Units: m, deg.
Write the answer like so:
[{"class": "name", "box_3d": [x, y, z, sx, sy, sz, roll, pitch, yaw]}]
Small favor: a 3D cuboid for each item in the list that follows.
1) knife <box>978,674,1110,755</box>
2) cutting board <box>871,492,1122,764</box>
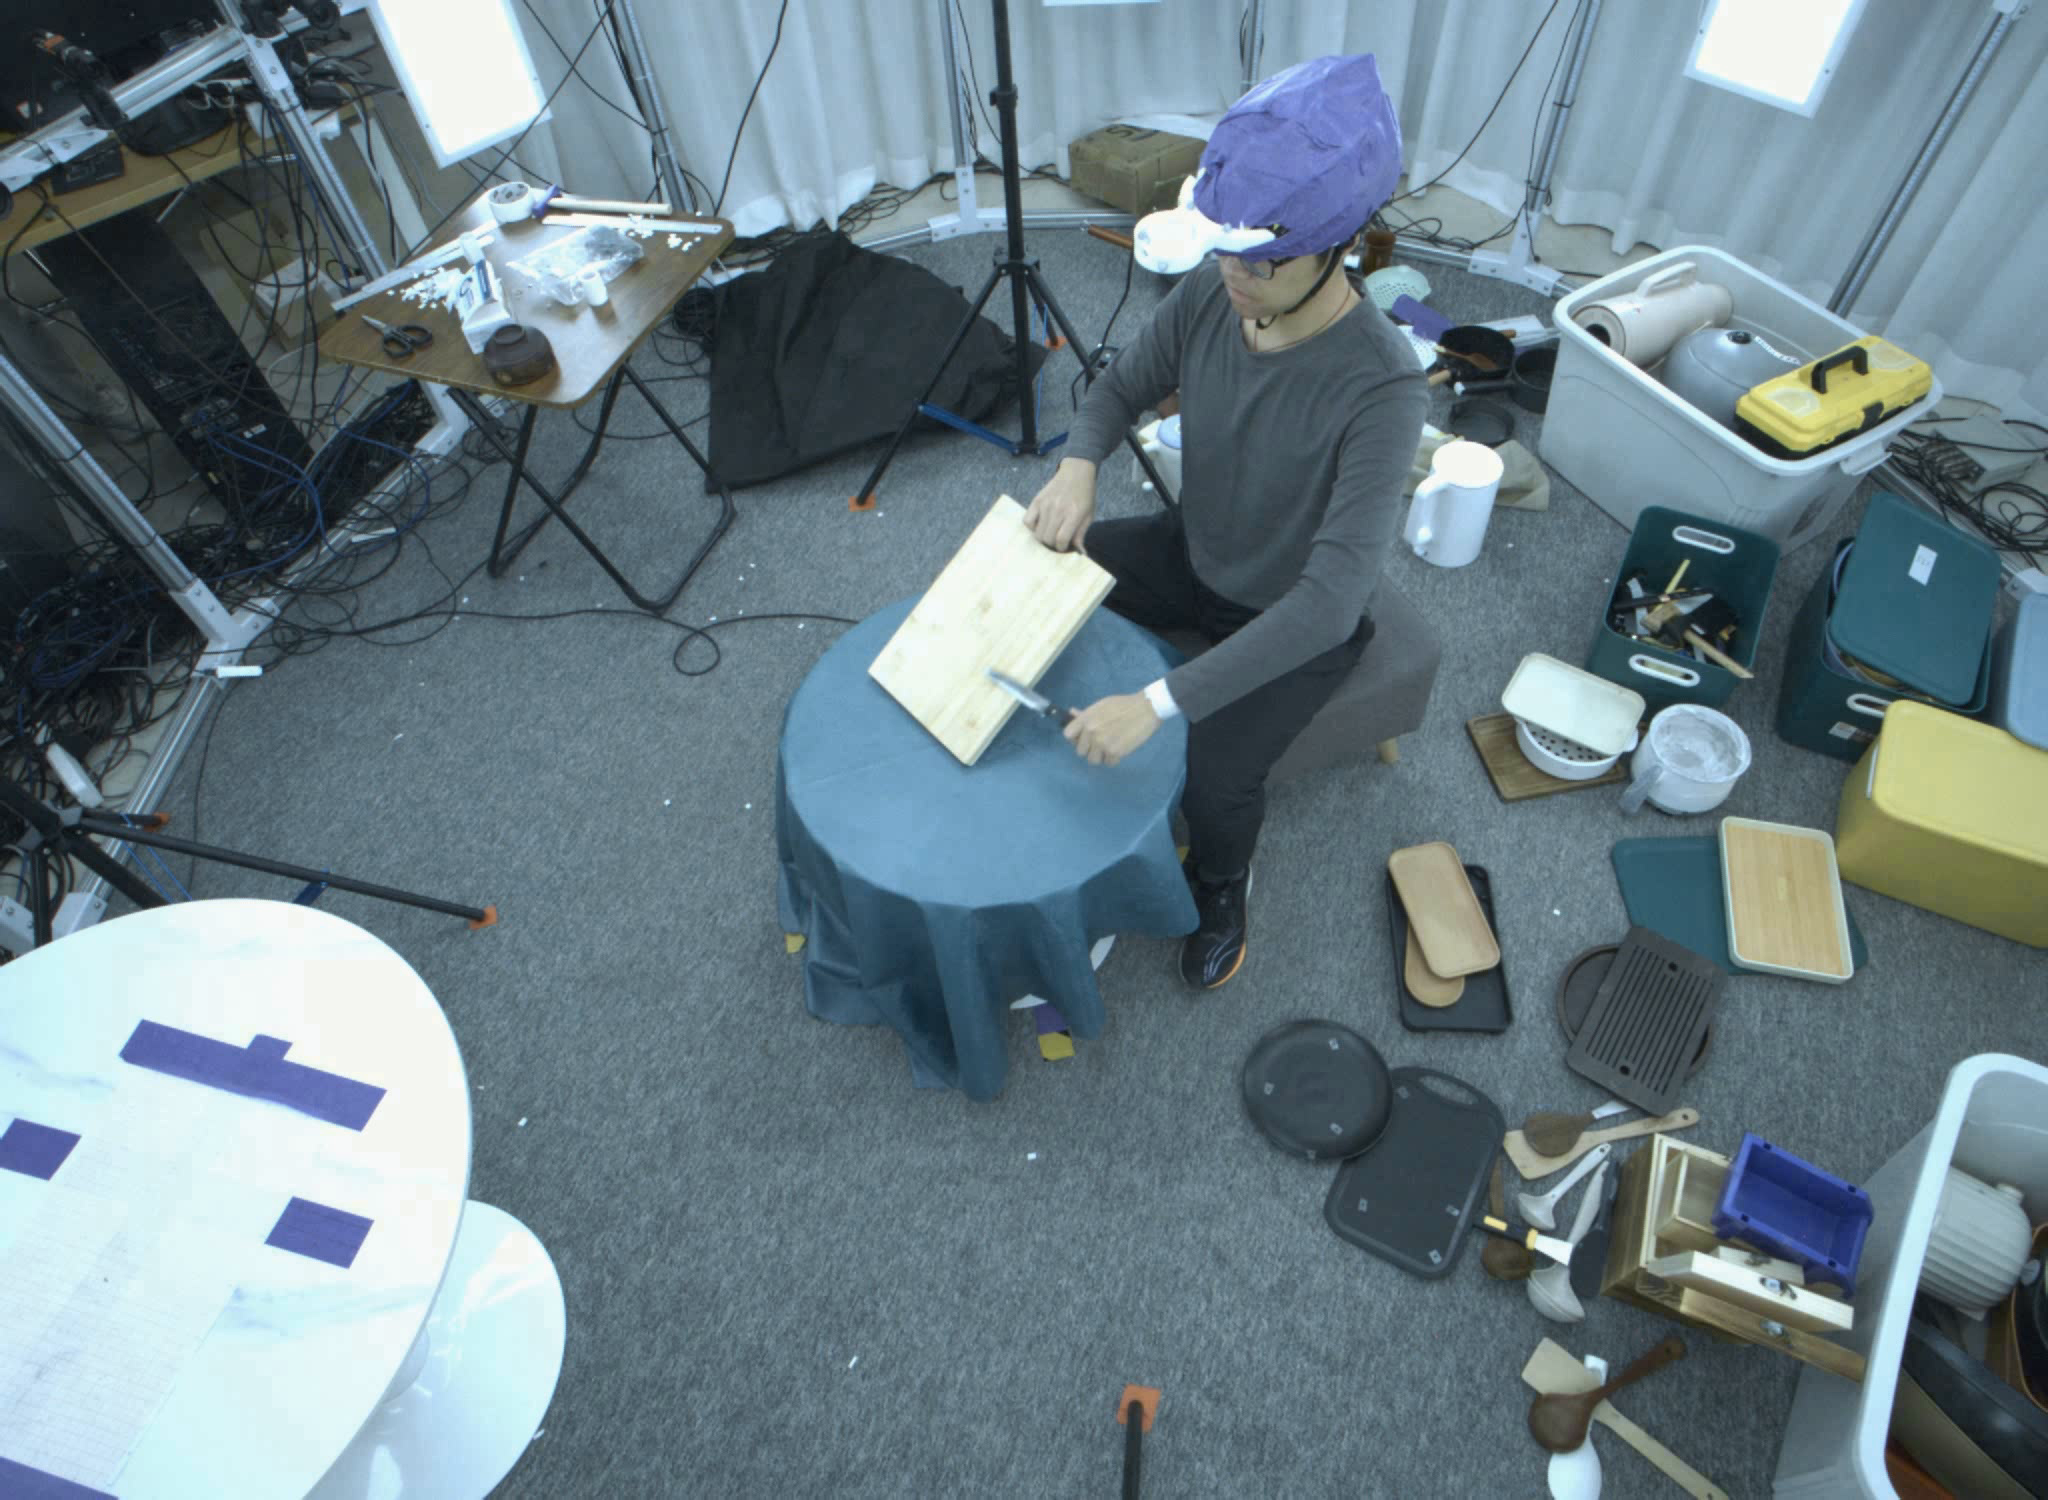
[{"class": "knife", "box_3d": [0.026, -0.056, 1.731, 0.234, 0.016, 0.024, 31, 102, 24]}, {"class": "cutting board", "box_3d": [-0.049, -0.184, 1.806, 0.246, 0.024, 0.348, 41, 97, 26]}]
